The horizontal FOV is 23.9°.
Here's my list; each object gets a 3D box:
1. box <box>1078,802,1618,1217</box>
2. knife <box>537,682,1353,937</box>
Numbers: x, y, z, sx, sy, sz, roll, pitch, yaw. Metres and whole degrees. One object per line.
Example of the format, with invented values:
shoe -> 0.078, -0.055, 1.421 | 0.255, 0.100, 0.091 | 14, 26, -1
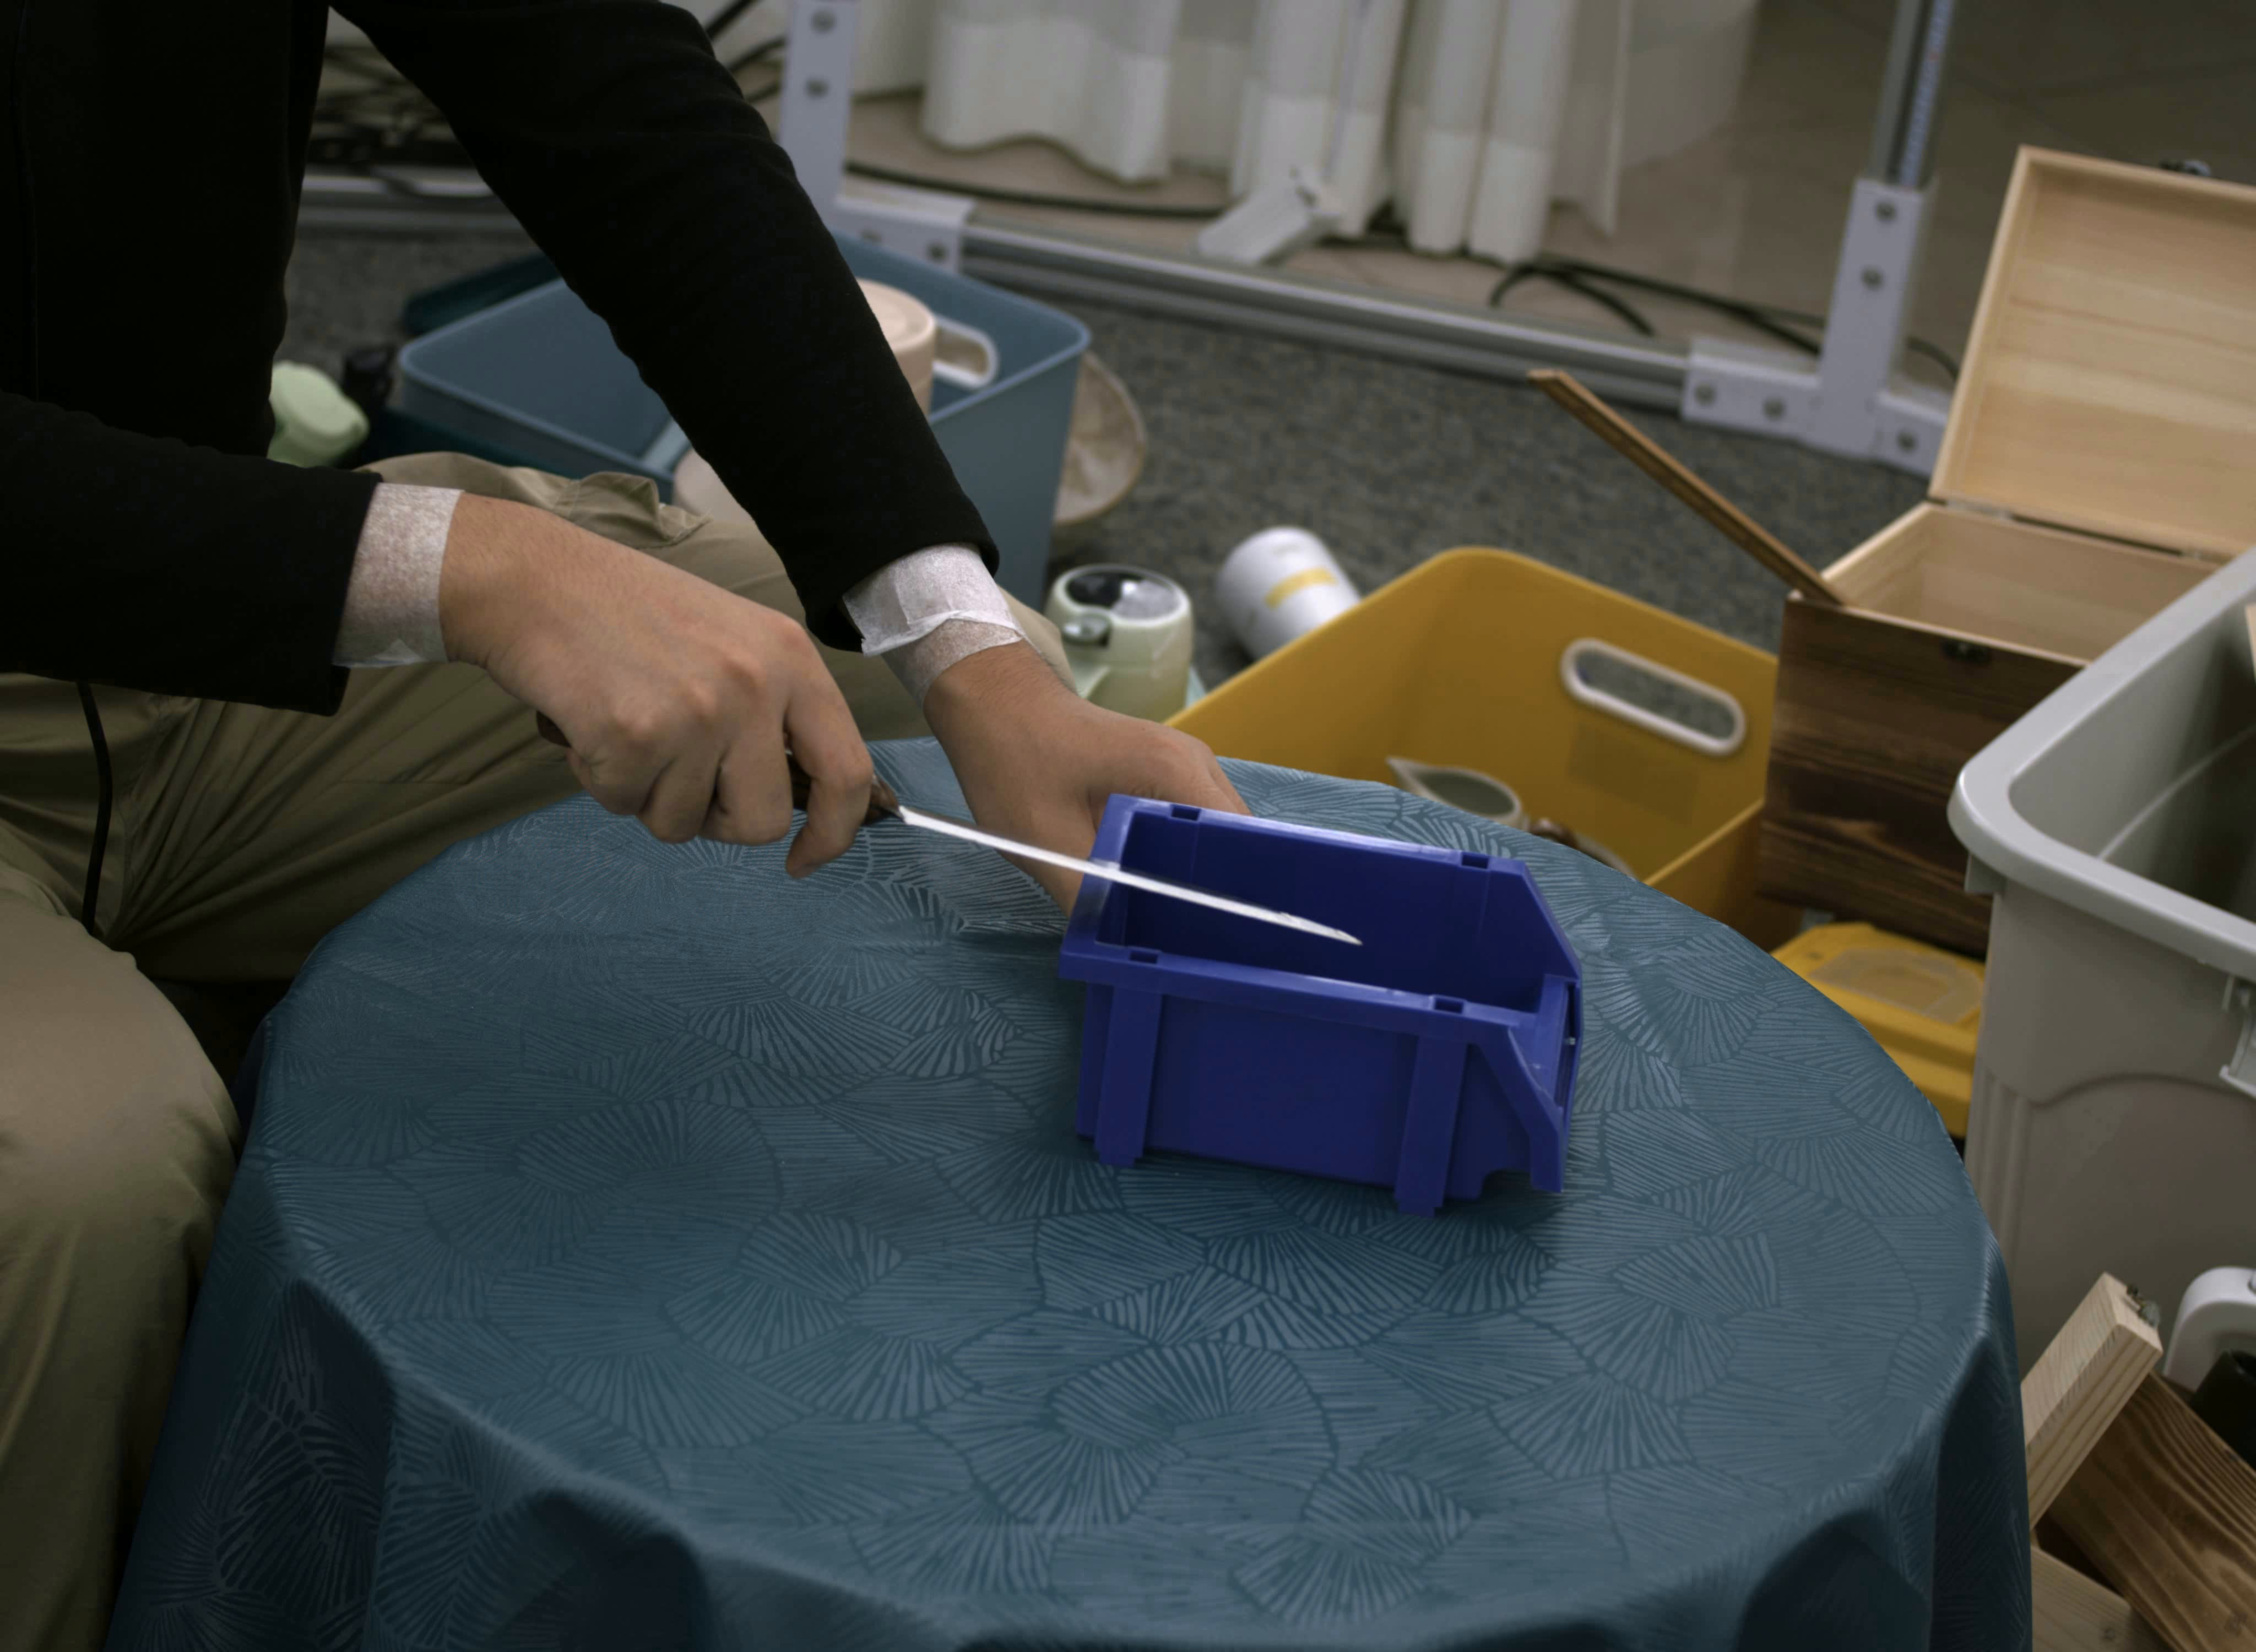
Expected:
box -> 0.079, 0.064, 1.846 | 0.179, 0.081, 0.125 | 8, 27, 8
knife -> -0.059, -0.001, 1.793 | 0.287, 0.020, 0.050 | 16, 7, -11
